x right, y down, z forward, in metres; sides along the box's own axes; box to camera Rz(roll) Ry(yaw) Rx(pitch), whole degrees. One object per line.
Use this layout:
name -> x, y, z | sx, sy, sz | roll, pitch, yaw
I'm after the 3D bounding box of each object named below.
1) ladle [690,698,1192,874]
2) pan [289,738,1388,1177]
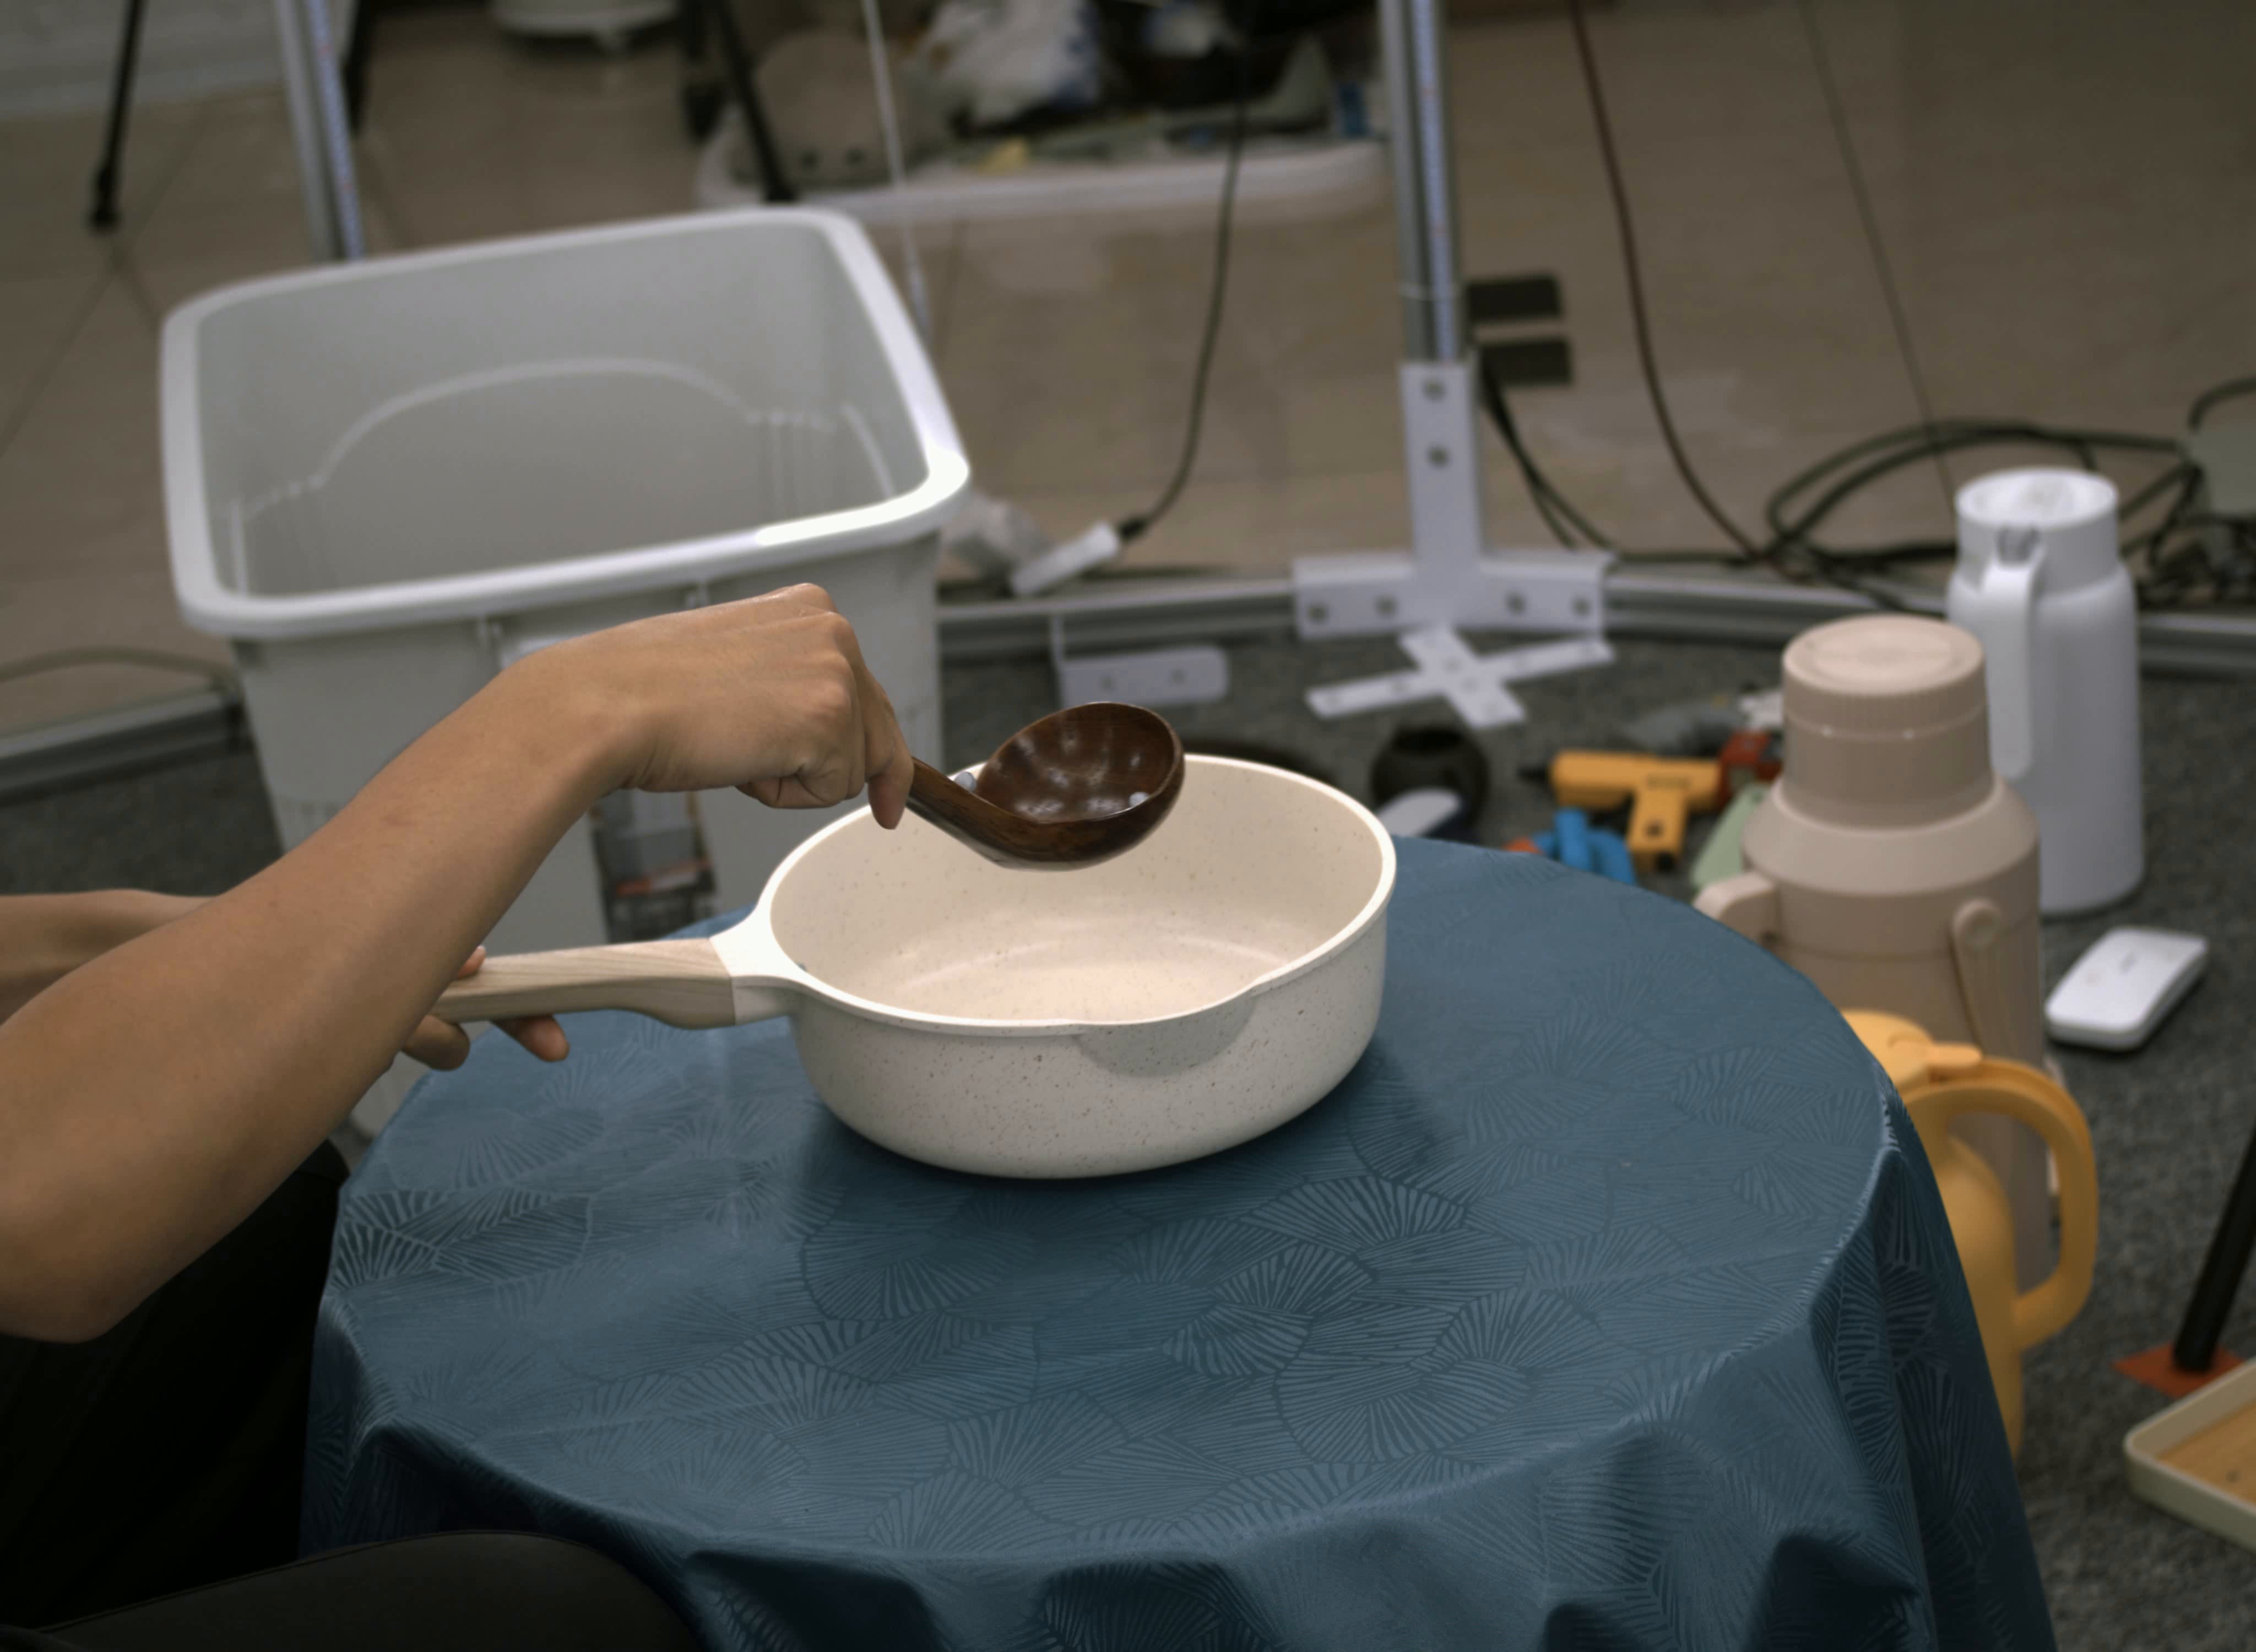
ladle -> -0.065, -0.037, 1.974 | 0.082, 0.076, 0.276 | -5, -15, 28
pan -> -0.107, 0.068, 2.212 | 0.433, 0.103, 0.260 | -13, 27, -13
